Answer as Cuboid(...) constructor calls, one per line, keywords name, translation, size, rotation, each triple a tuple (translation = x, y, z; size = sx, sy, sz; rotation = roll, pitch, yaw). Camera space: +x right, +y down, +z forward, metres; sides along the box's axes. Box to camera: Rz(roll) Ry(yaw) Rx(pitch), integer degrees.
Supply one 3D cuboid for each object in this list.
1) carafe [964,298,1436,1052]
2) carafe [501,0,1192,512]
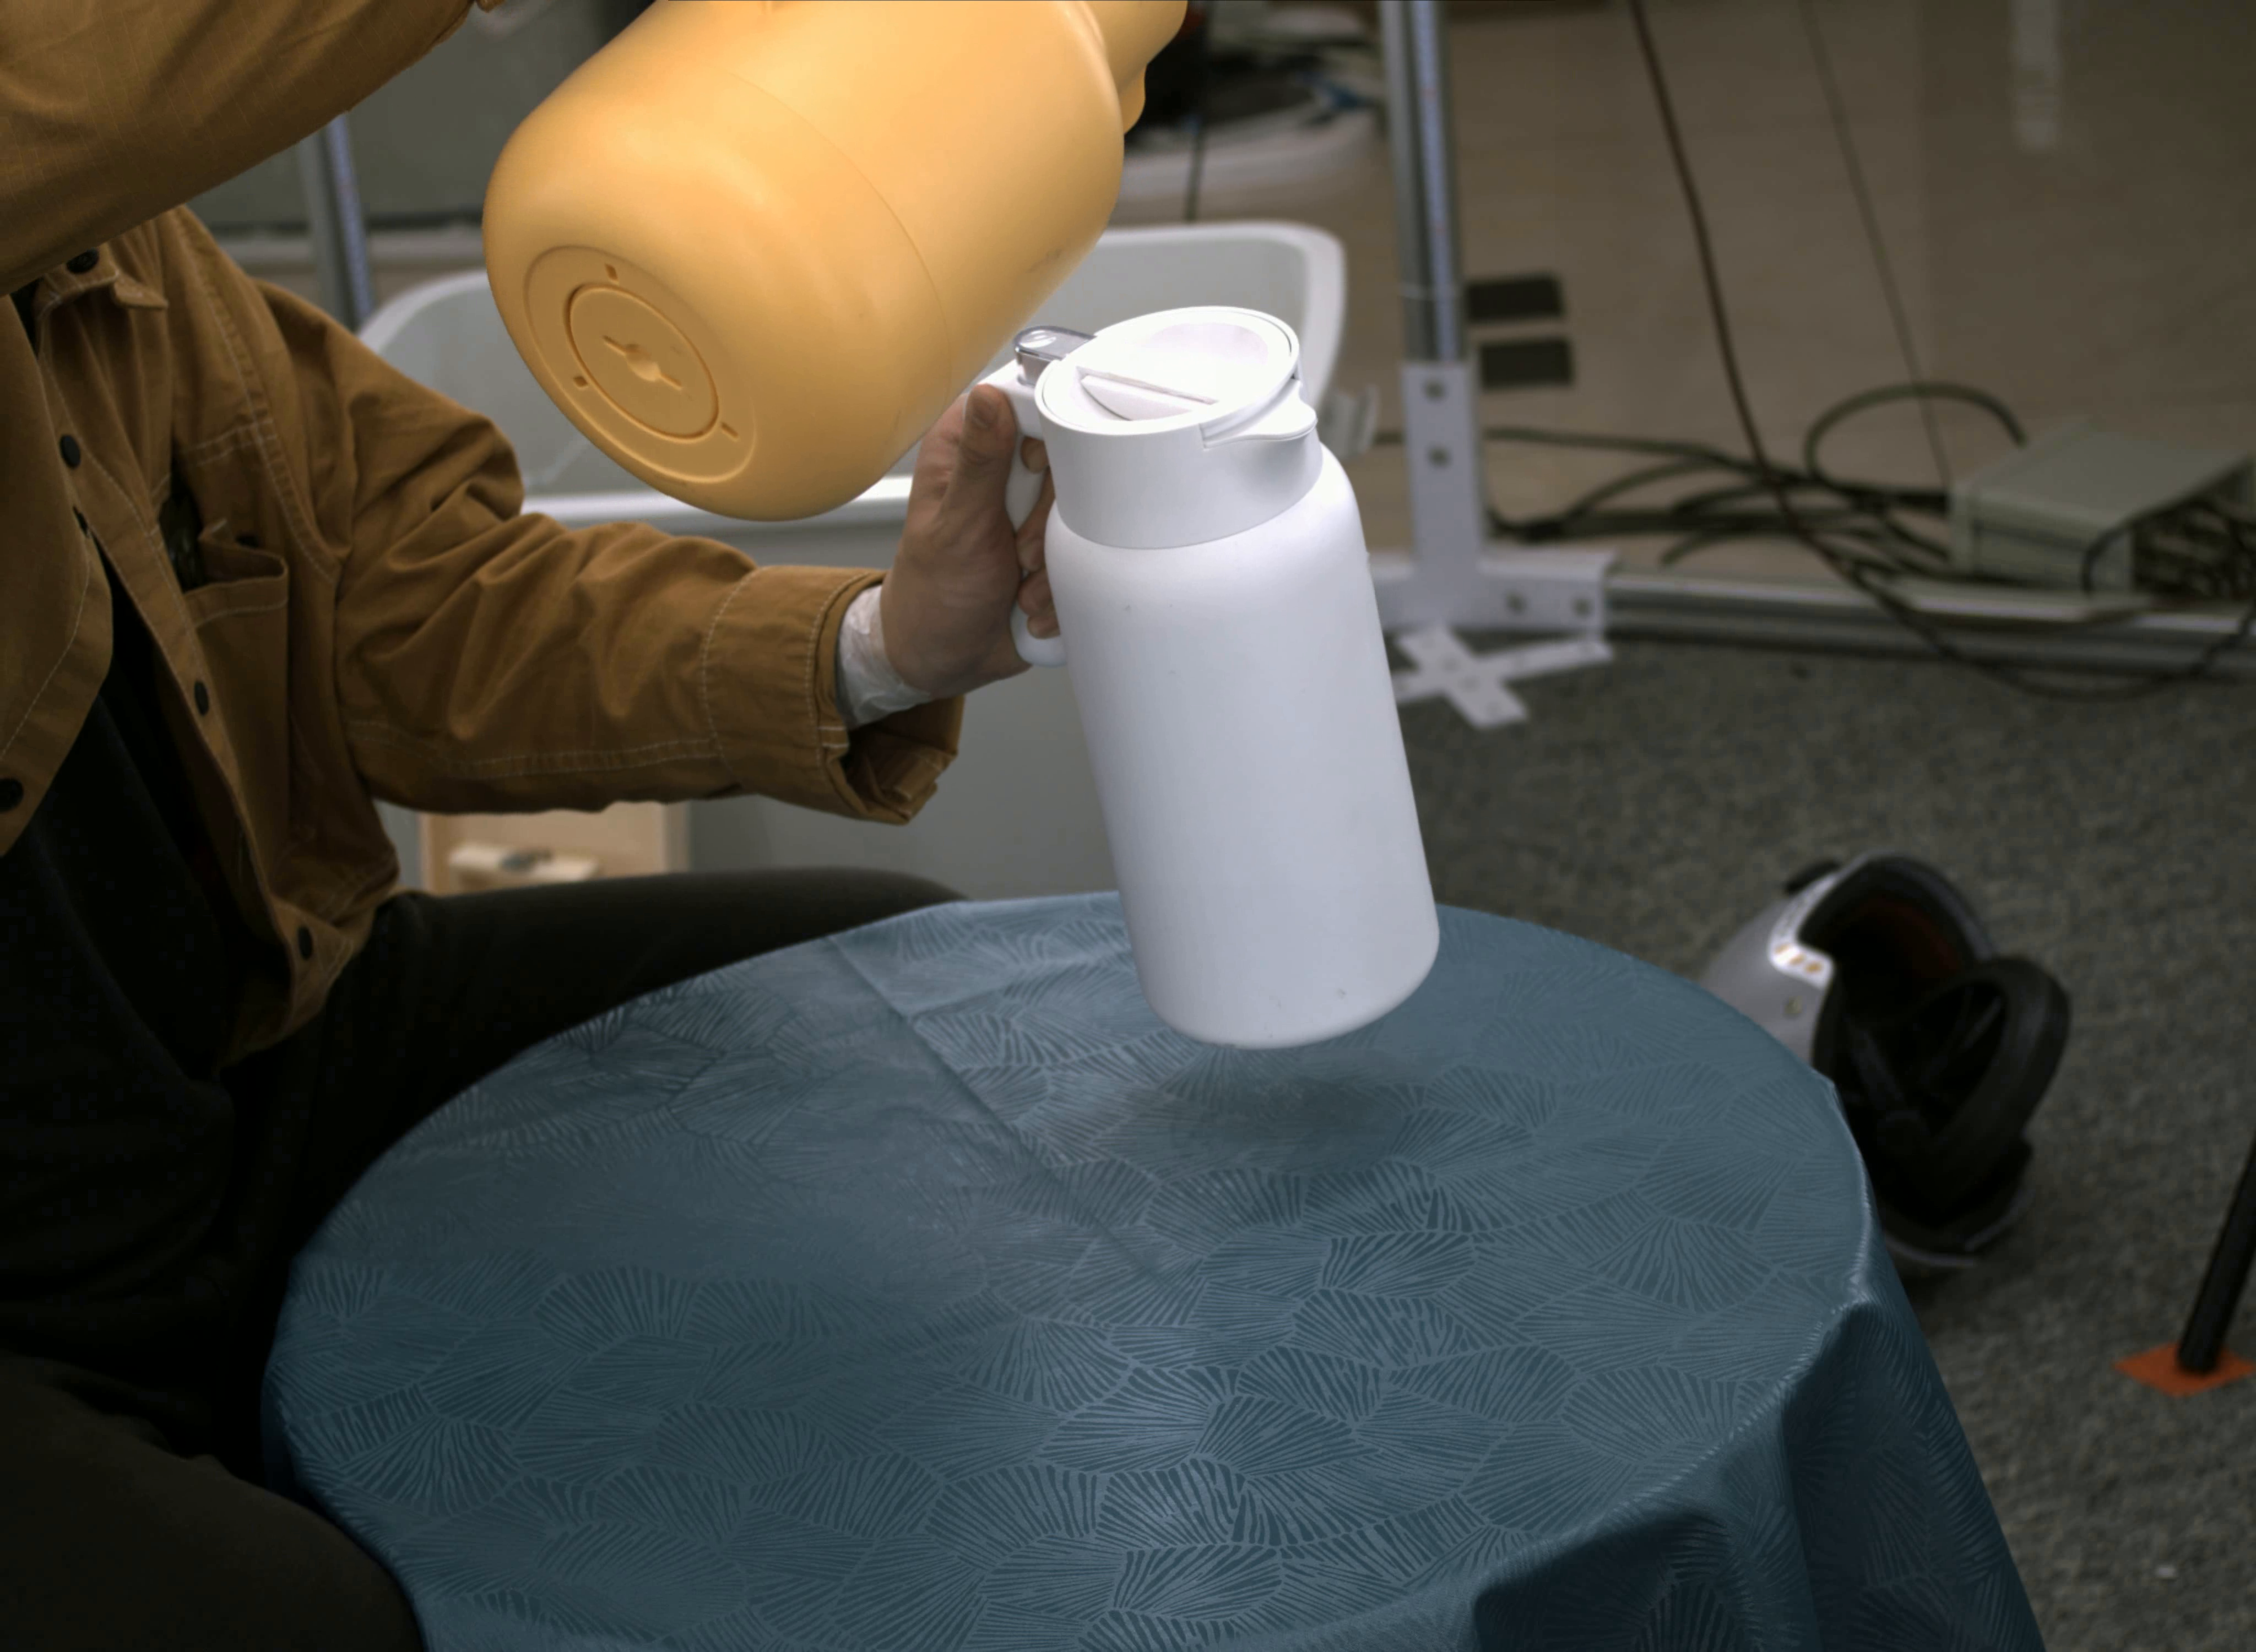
Cuboid(name="carafe", translation=(0.025, -0.057, 2.115), size=(0.171, 0.274, 0.122), rotation=(18, 45, 40))
Cuboid(name="carafe", translation=(-0.086, -0.248, 1.865), size=(0.162, 0.206, 0.257), rotation=(13, 48, 33))
